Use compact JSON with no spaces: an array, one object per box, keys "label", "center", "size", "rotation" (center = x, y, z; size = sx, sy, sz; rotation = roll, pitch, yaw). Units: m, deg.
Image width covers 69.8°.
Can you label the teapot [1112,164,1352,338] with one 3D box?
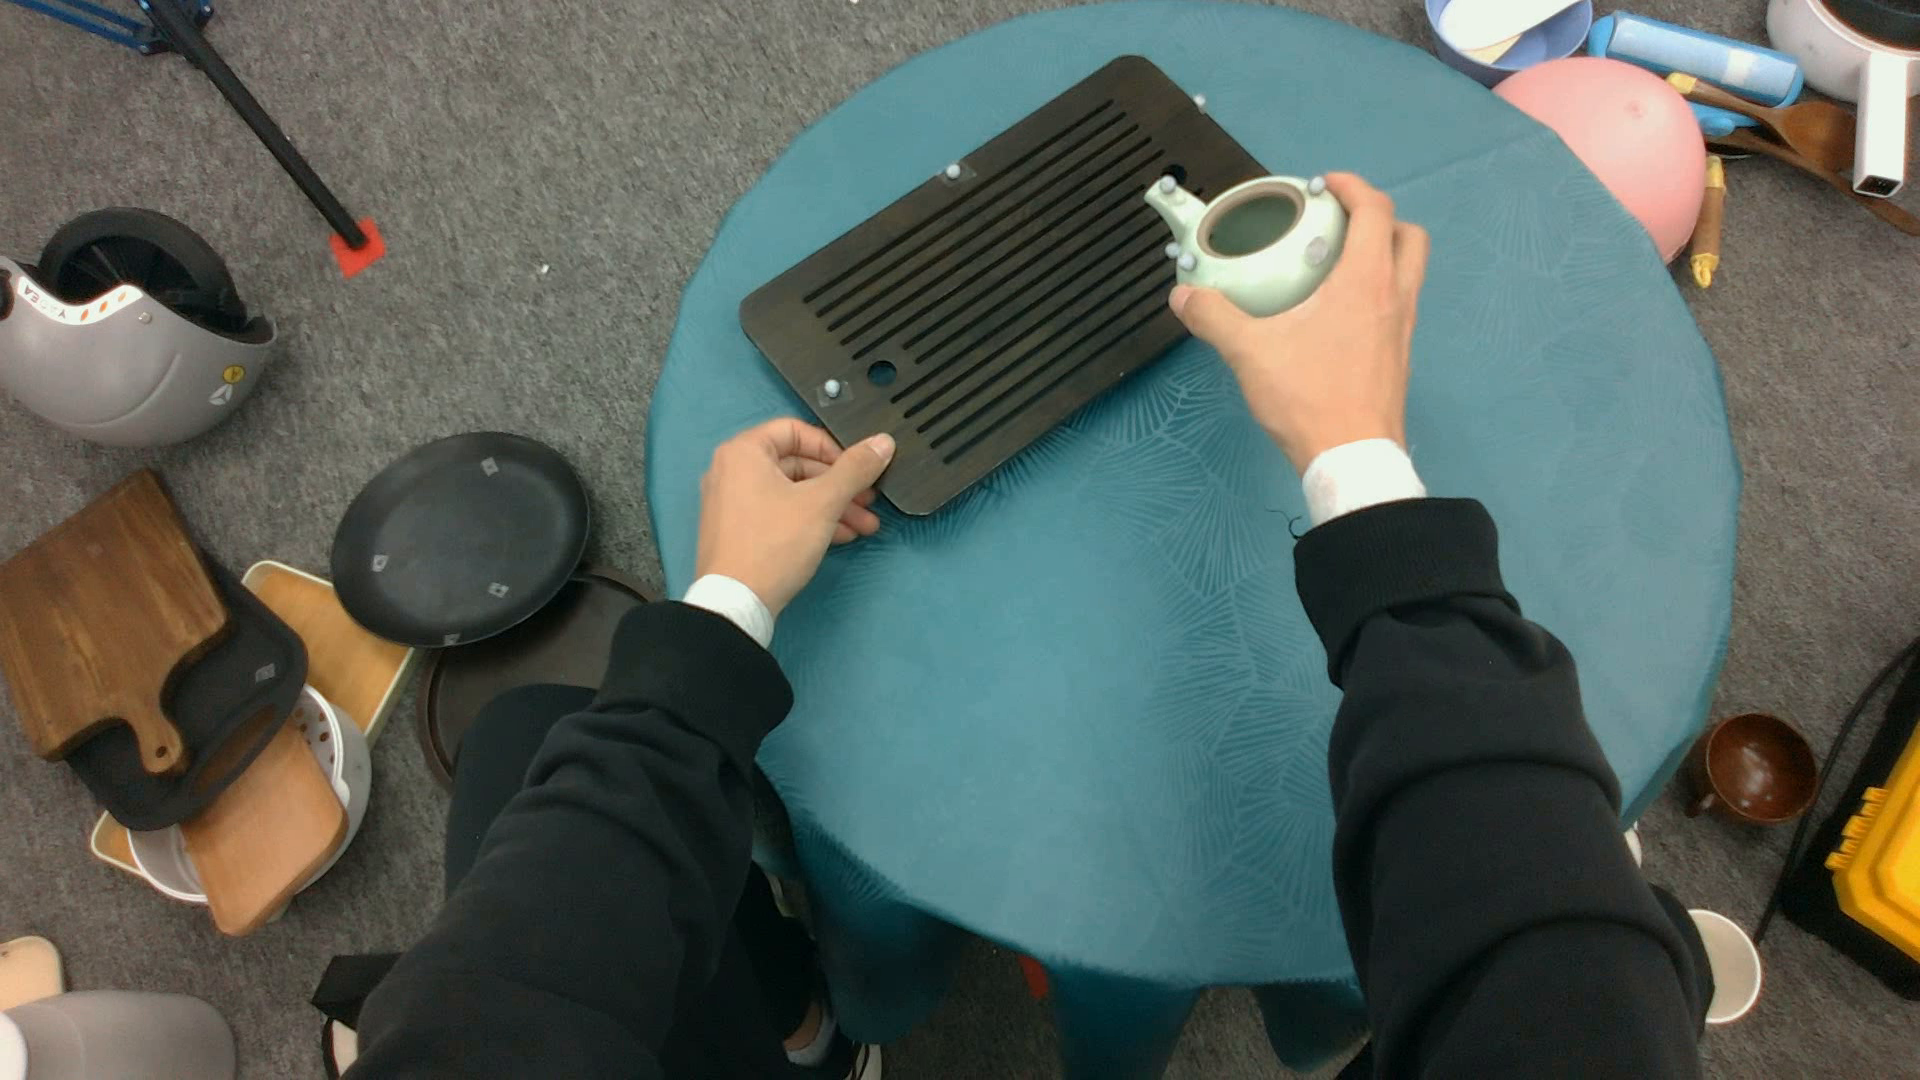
[{"label":"teapot","center":[0.136,-0.143,0.679],"size":[0.088,0.074,0.144],"rotation":[-46,40,-10]}]

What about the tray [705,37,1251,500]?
[{"label":"tray","center":[0.022,-0.163,0.787],"size":[0.307,0.018,0.170],"rotation":[-37,73,-16]}]
